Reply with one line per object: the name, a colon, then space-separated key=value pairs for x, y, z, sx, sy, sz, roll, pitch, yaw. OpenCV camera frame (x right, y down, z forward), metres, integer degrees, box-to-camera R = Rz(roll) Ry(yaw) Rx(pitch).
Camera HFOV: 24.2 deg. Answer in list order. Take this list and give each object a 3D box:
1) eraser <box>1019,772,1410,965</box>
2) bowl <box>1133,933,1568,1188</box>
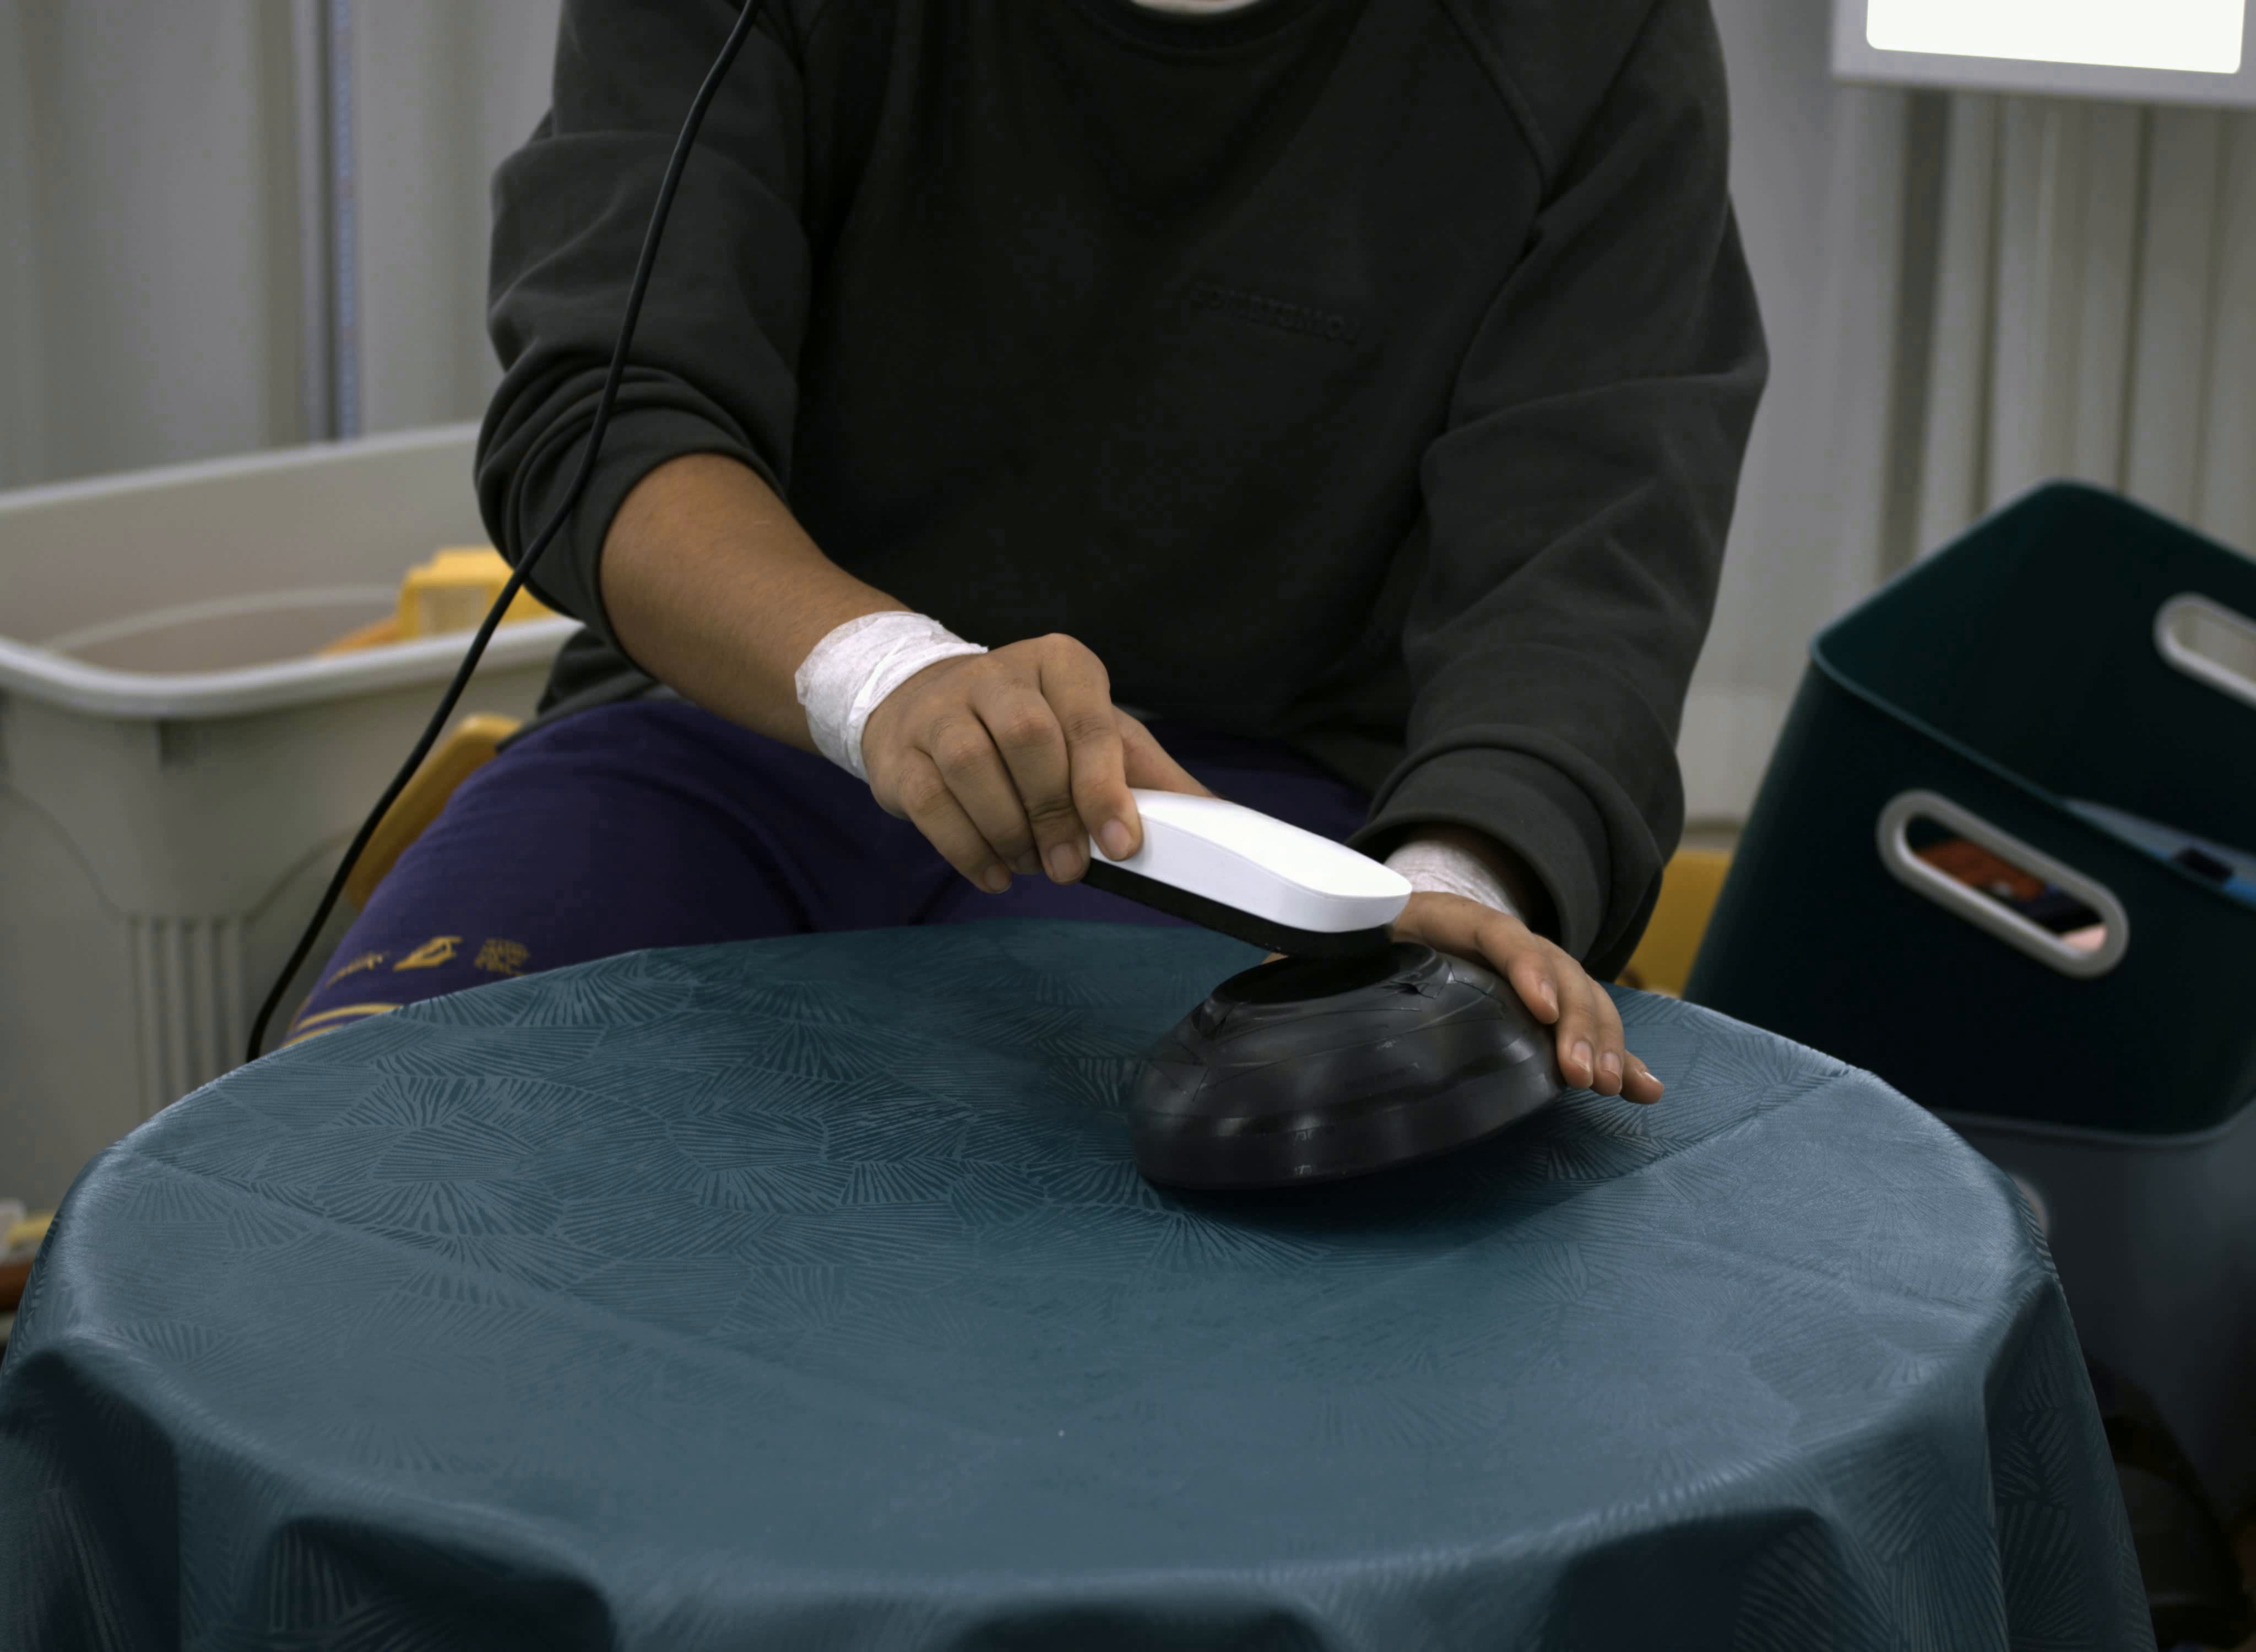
eraser: x=0.027 y=0.010 z=1.668 sx=0.129 sy=0.035 sz=0.064 roll=22 pitch=13 yaw=38
bowl: x=0.064 y=0.067 z=1.638 sx=0.139 sy=0.050 sz=0.139 roll=-12 pitch=12 yaw=3
